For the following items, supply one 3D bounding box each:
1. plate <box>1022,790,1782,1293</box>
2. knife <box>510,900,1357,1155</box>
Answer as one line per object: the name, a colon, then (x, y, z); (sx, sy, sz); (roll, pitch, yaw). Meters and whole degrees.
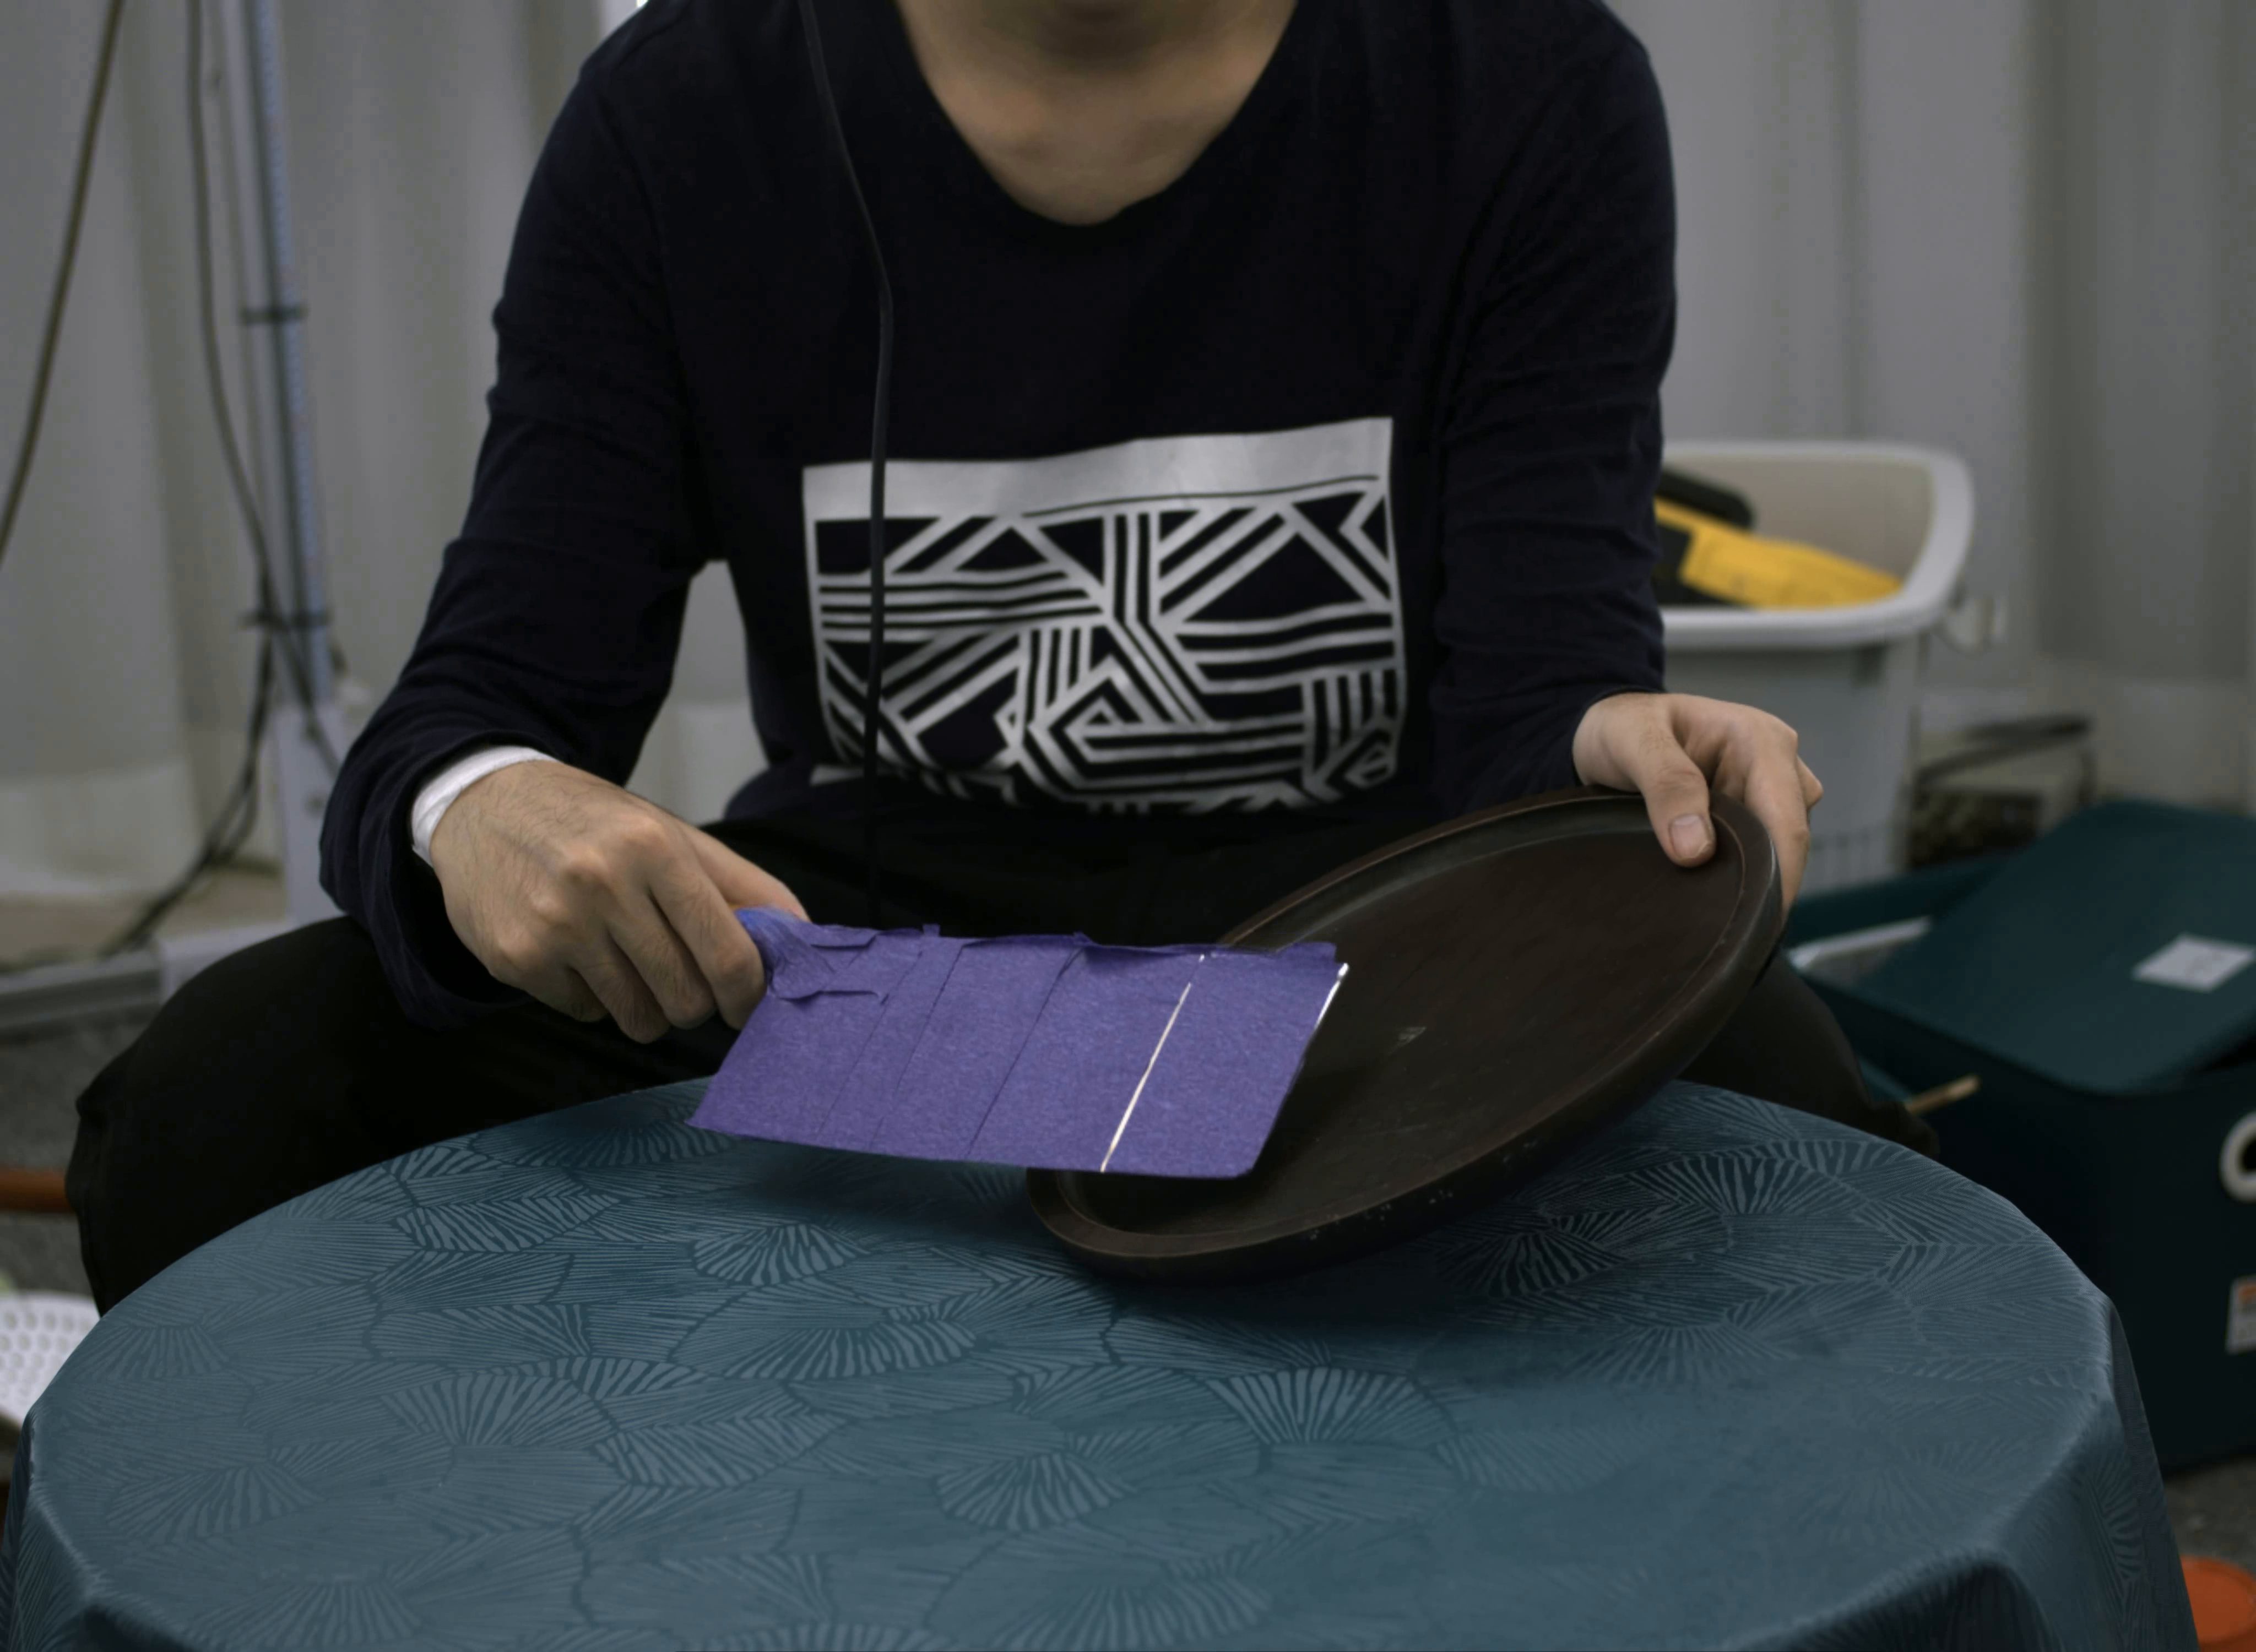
plate: (0.084, 0.065, 1.671); (0.254, 0.029, 0.257); (-25, 21, 10)
knife: (-0.080, 0.062, 1.726); (0.316, 0.032, 0.105); (0, 44, 33)
